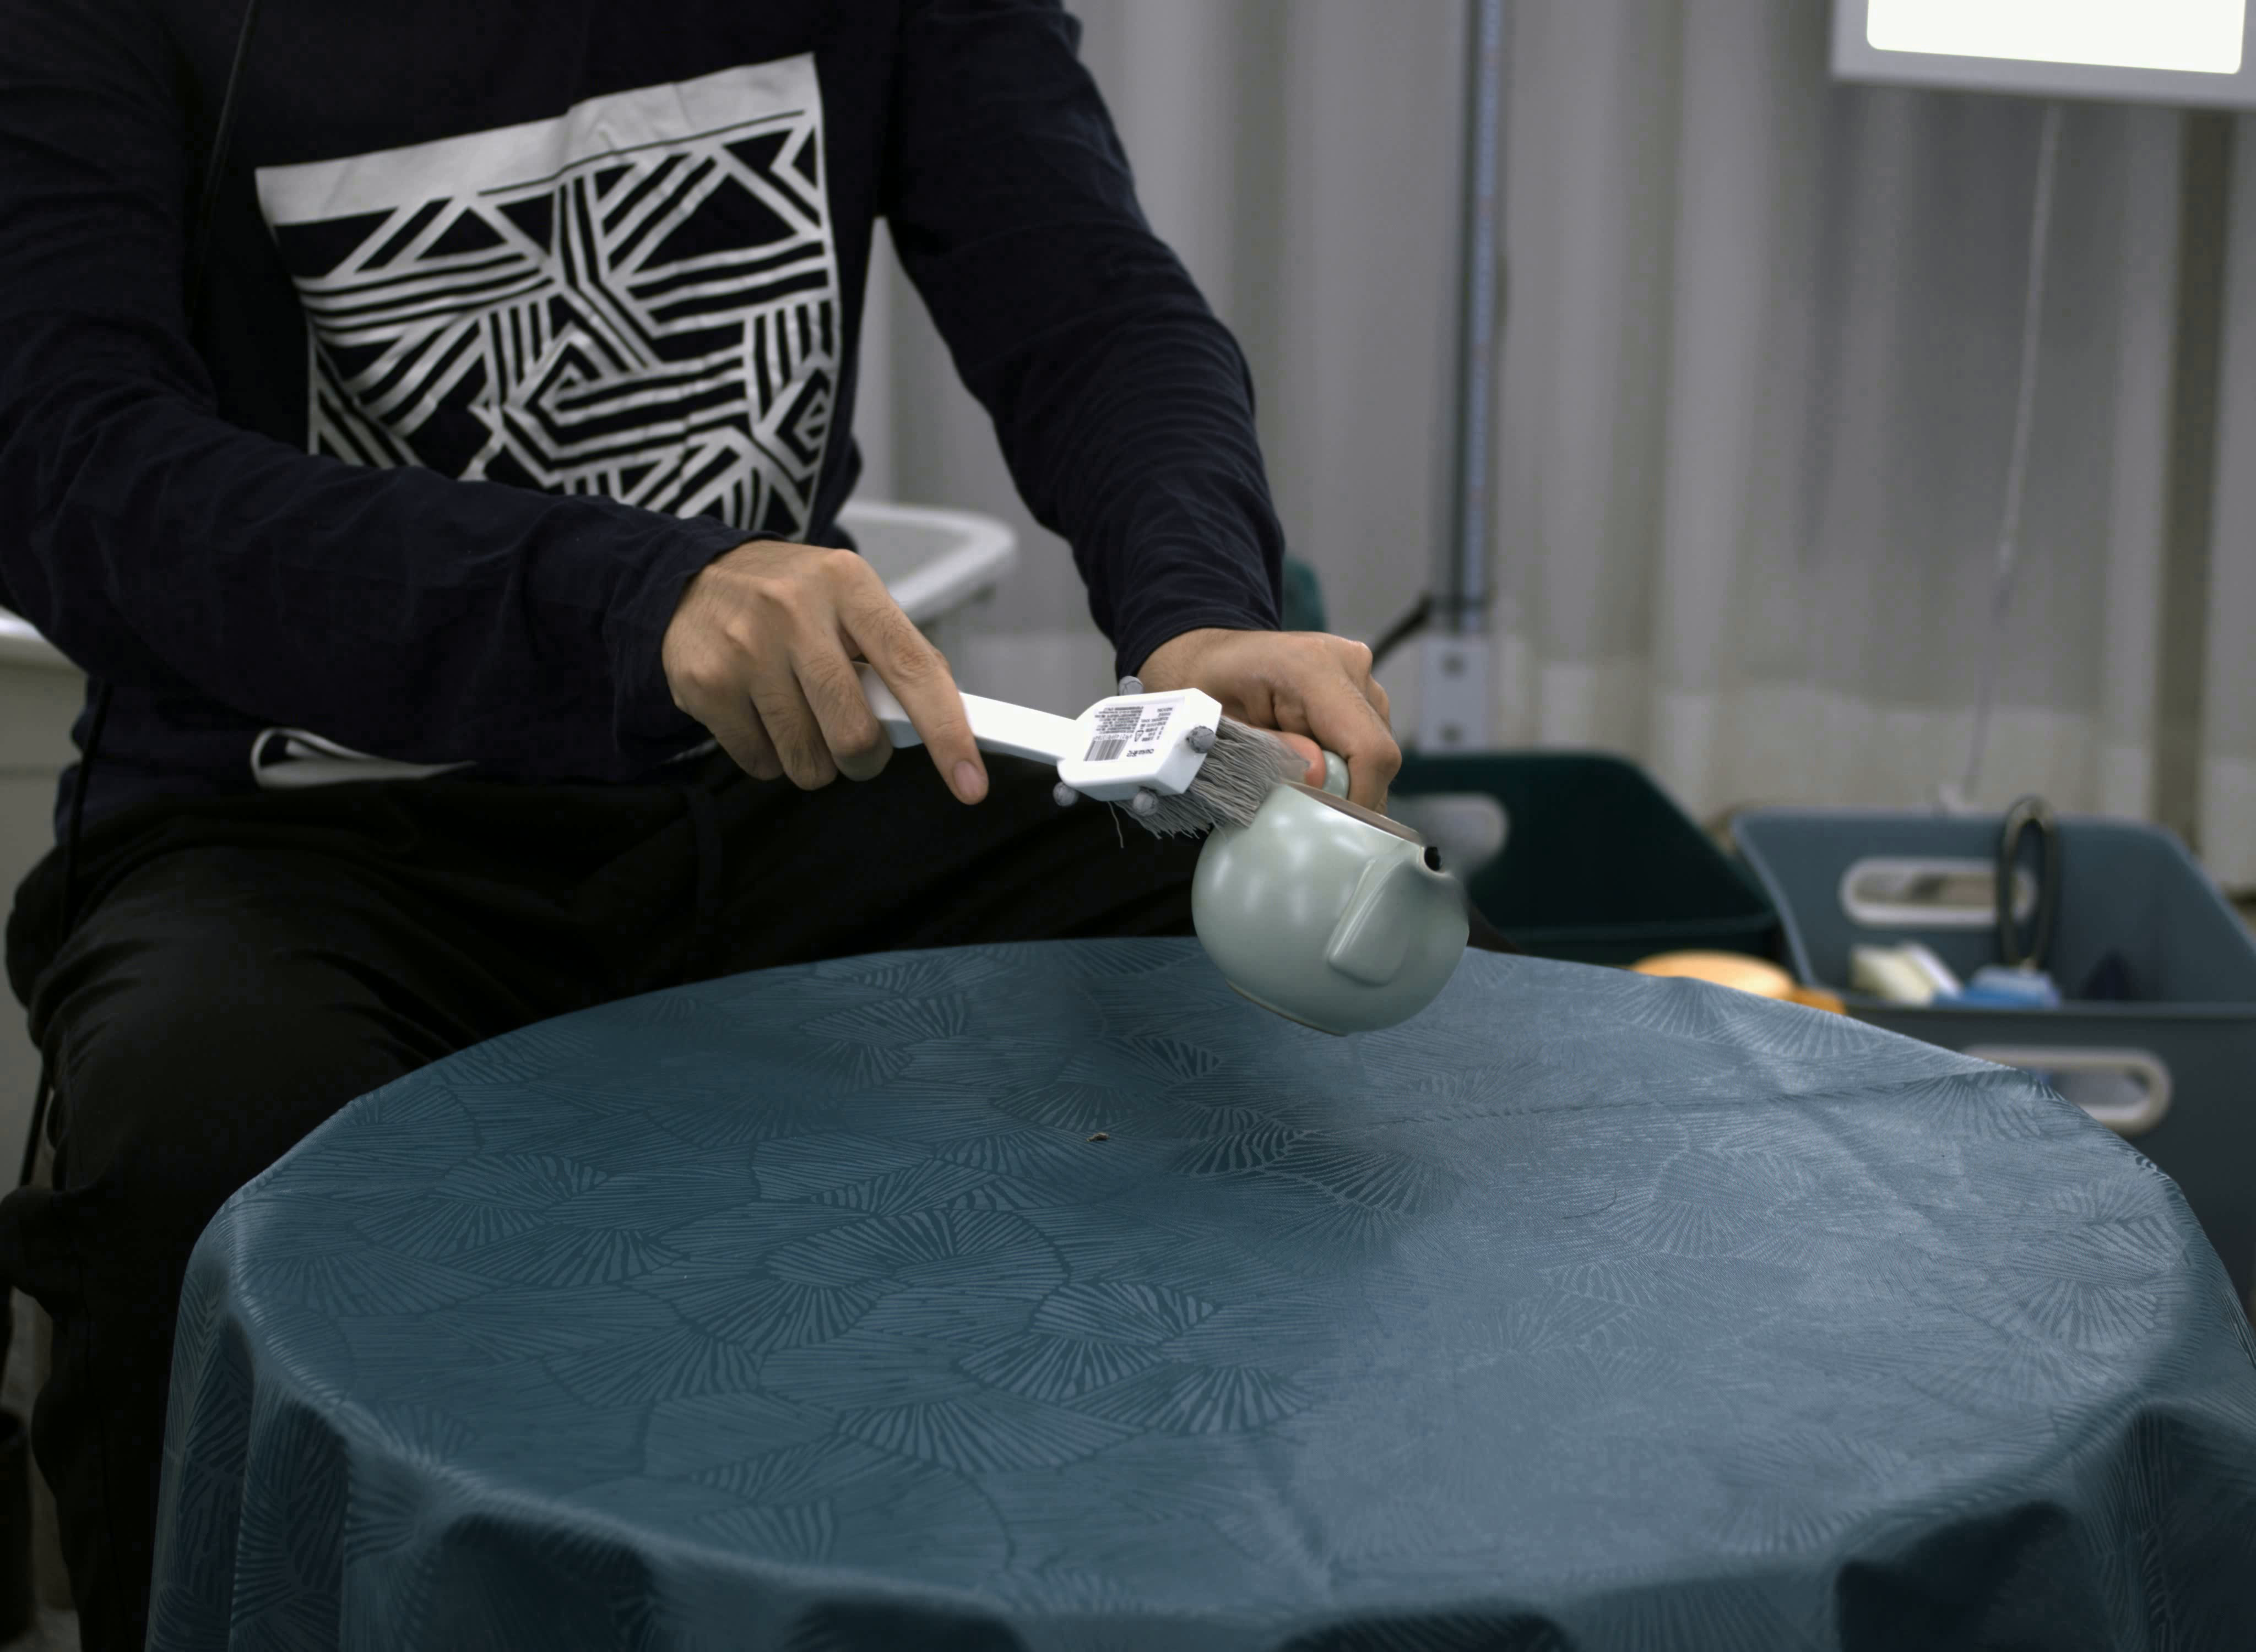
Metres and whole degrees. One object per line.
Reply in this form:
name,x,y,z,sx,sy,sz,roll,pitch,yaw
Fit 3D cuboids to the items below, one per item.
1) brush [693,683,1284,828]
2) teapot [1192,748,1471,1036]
brush,-0.046,-0.024,1.695,0.241,0.034,0.051,2,-21,44
teapot,0.064,0.024,1.646,0.089,0.075,0.142,21,9,-16
